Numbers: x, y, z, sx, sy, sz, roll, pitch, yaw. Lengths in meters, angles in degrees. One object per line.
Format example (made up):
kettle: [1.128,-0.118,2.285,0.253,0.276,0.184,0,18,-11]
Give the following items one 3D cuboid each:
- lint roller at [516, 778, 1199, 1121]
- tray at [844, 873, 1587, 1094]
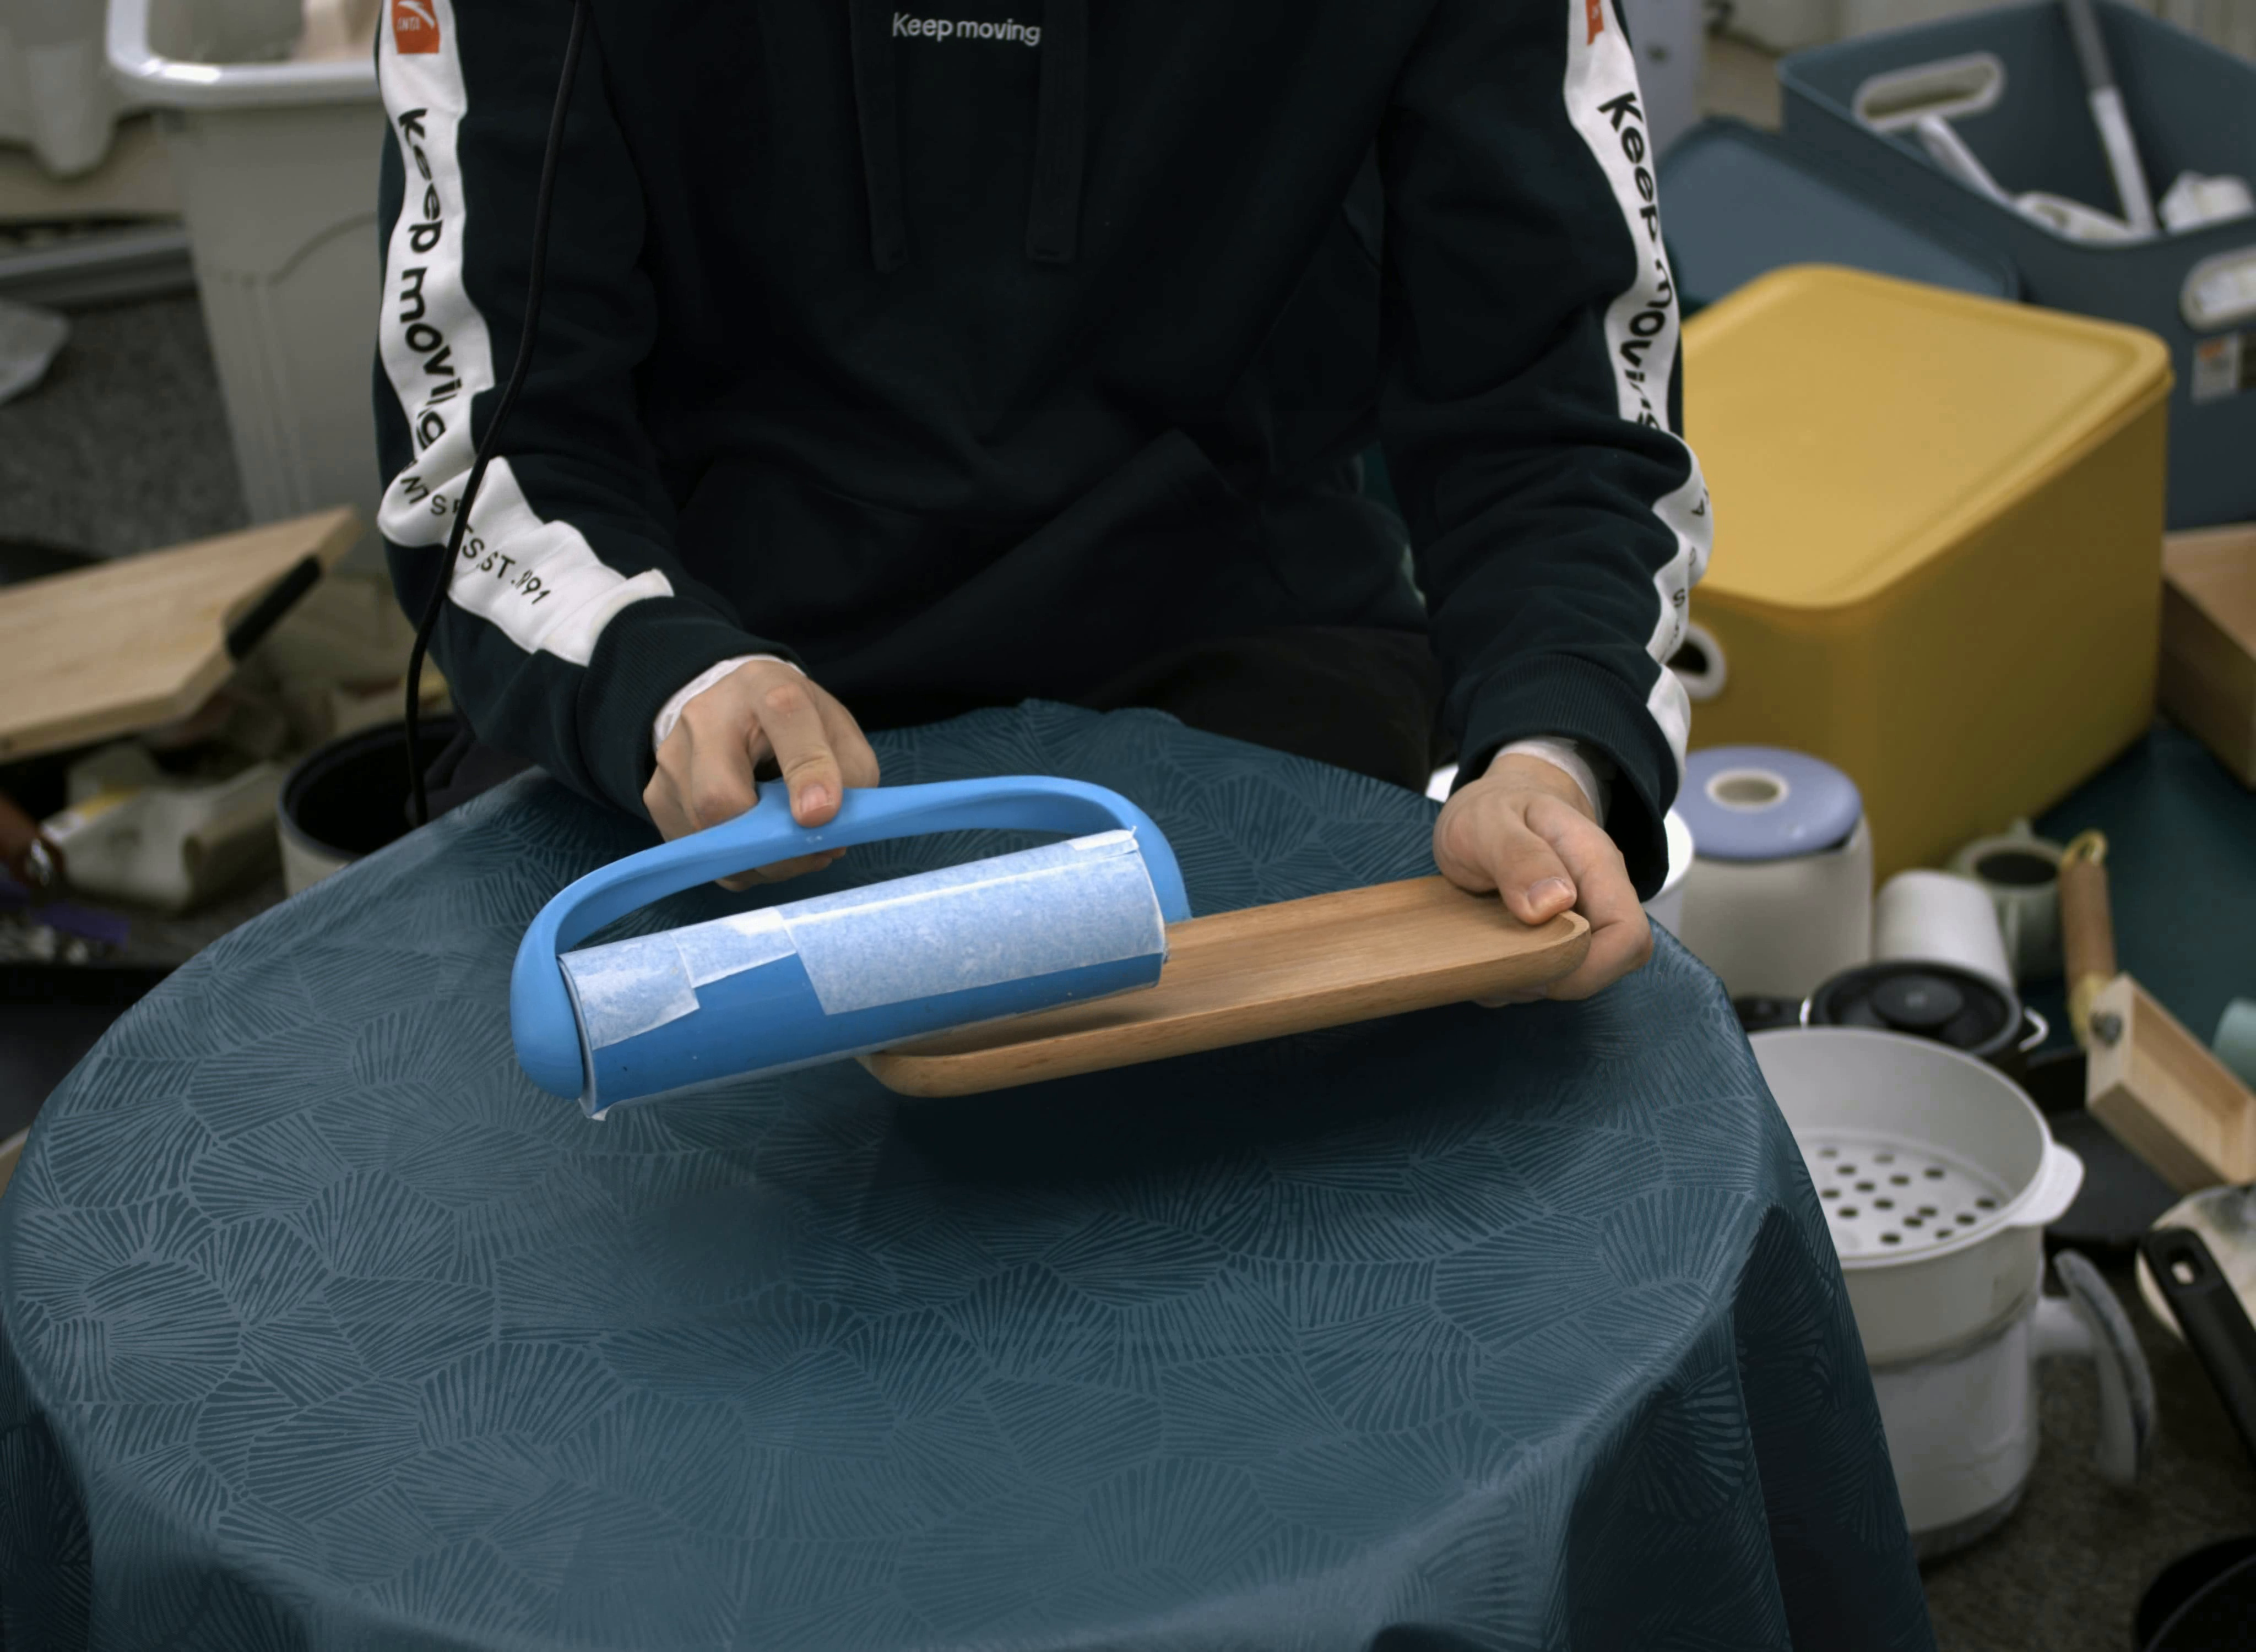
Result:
lint roller: [-0.108,0.021,1.864,0.229,0.067,0.182,-15,31,-17]
tray: [0.024,0.052,1.888,0.251,0.023,0.130,-10,10,-15]
